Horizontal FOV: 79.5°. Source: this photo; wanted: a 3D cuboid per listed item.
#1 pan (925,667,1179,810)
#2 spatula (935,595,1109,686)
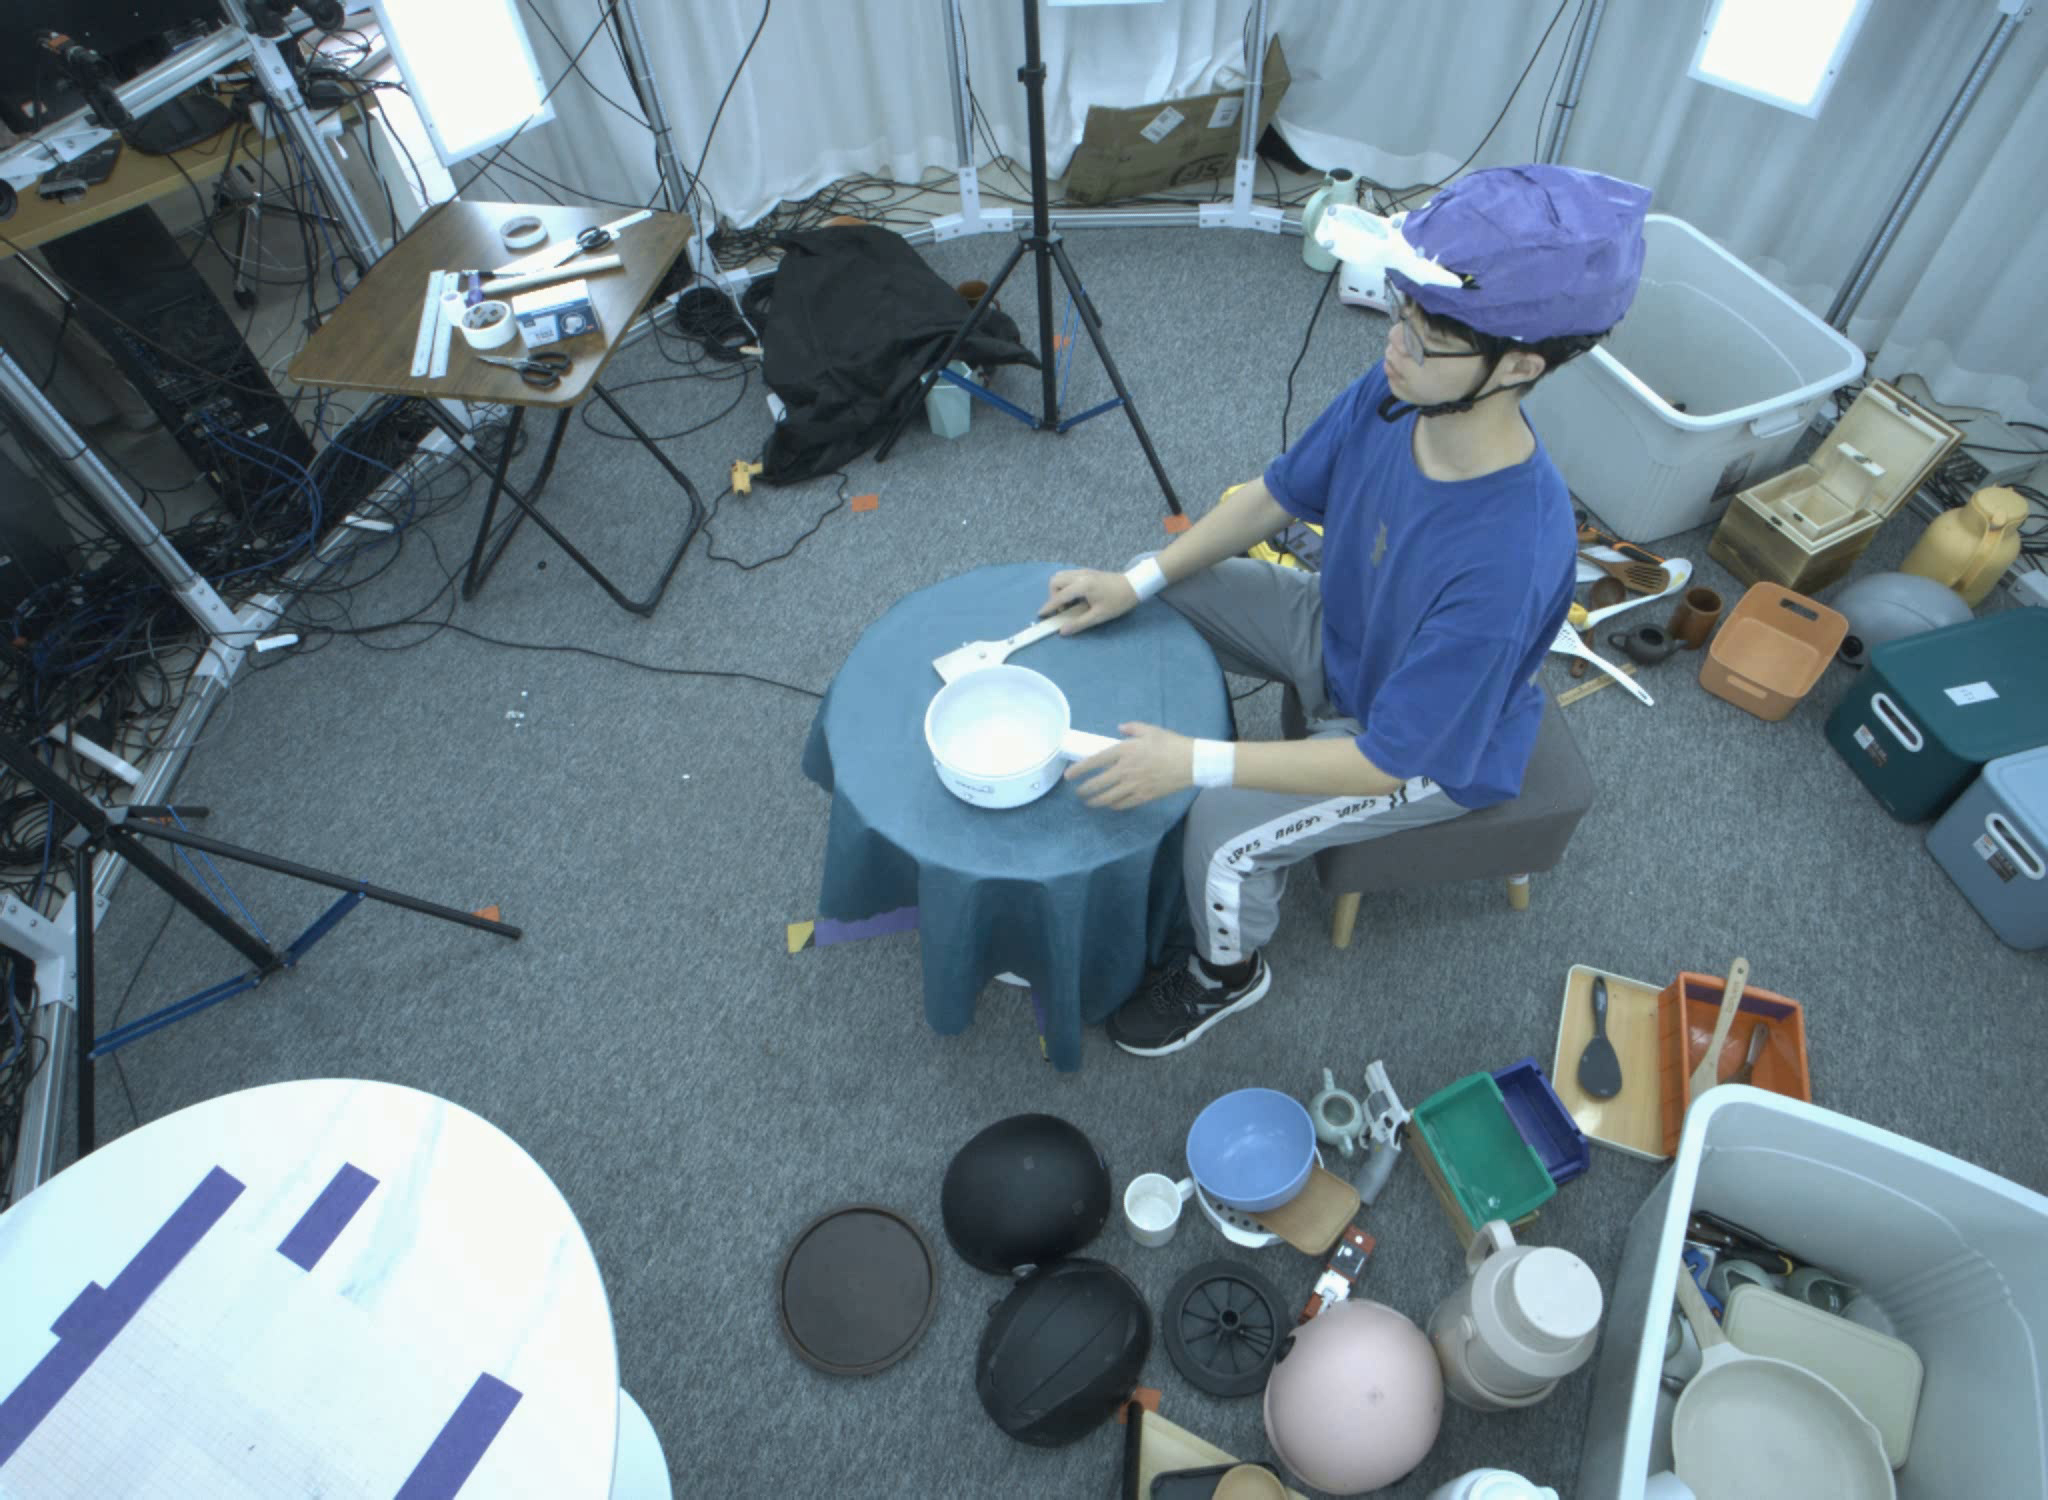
[{"bbox_3d":[0.039,0.005,1.713,0.351,0.103,0.201,13,54,12],"label":"pan"},{"bbox_3d":[0.004,-0.174,1.896,0.295,0.011,0.071,-27,59,-16],"label":"spatula"}]
